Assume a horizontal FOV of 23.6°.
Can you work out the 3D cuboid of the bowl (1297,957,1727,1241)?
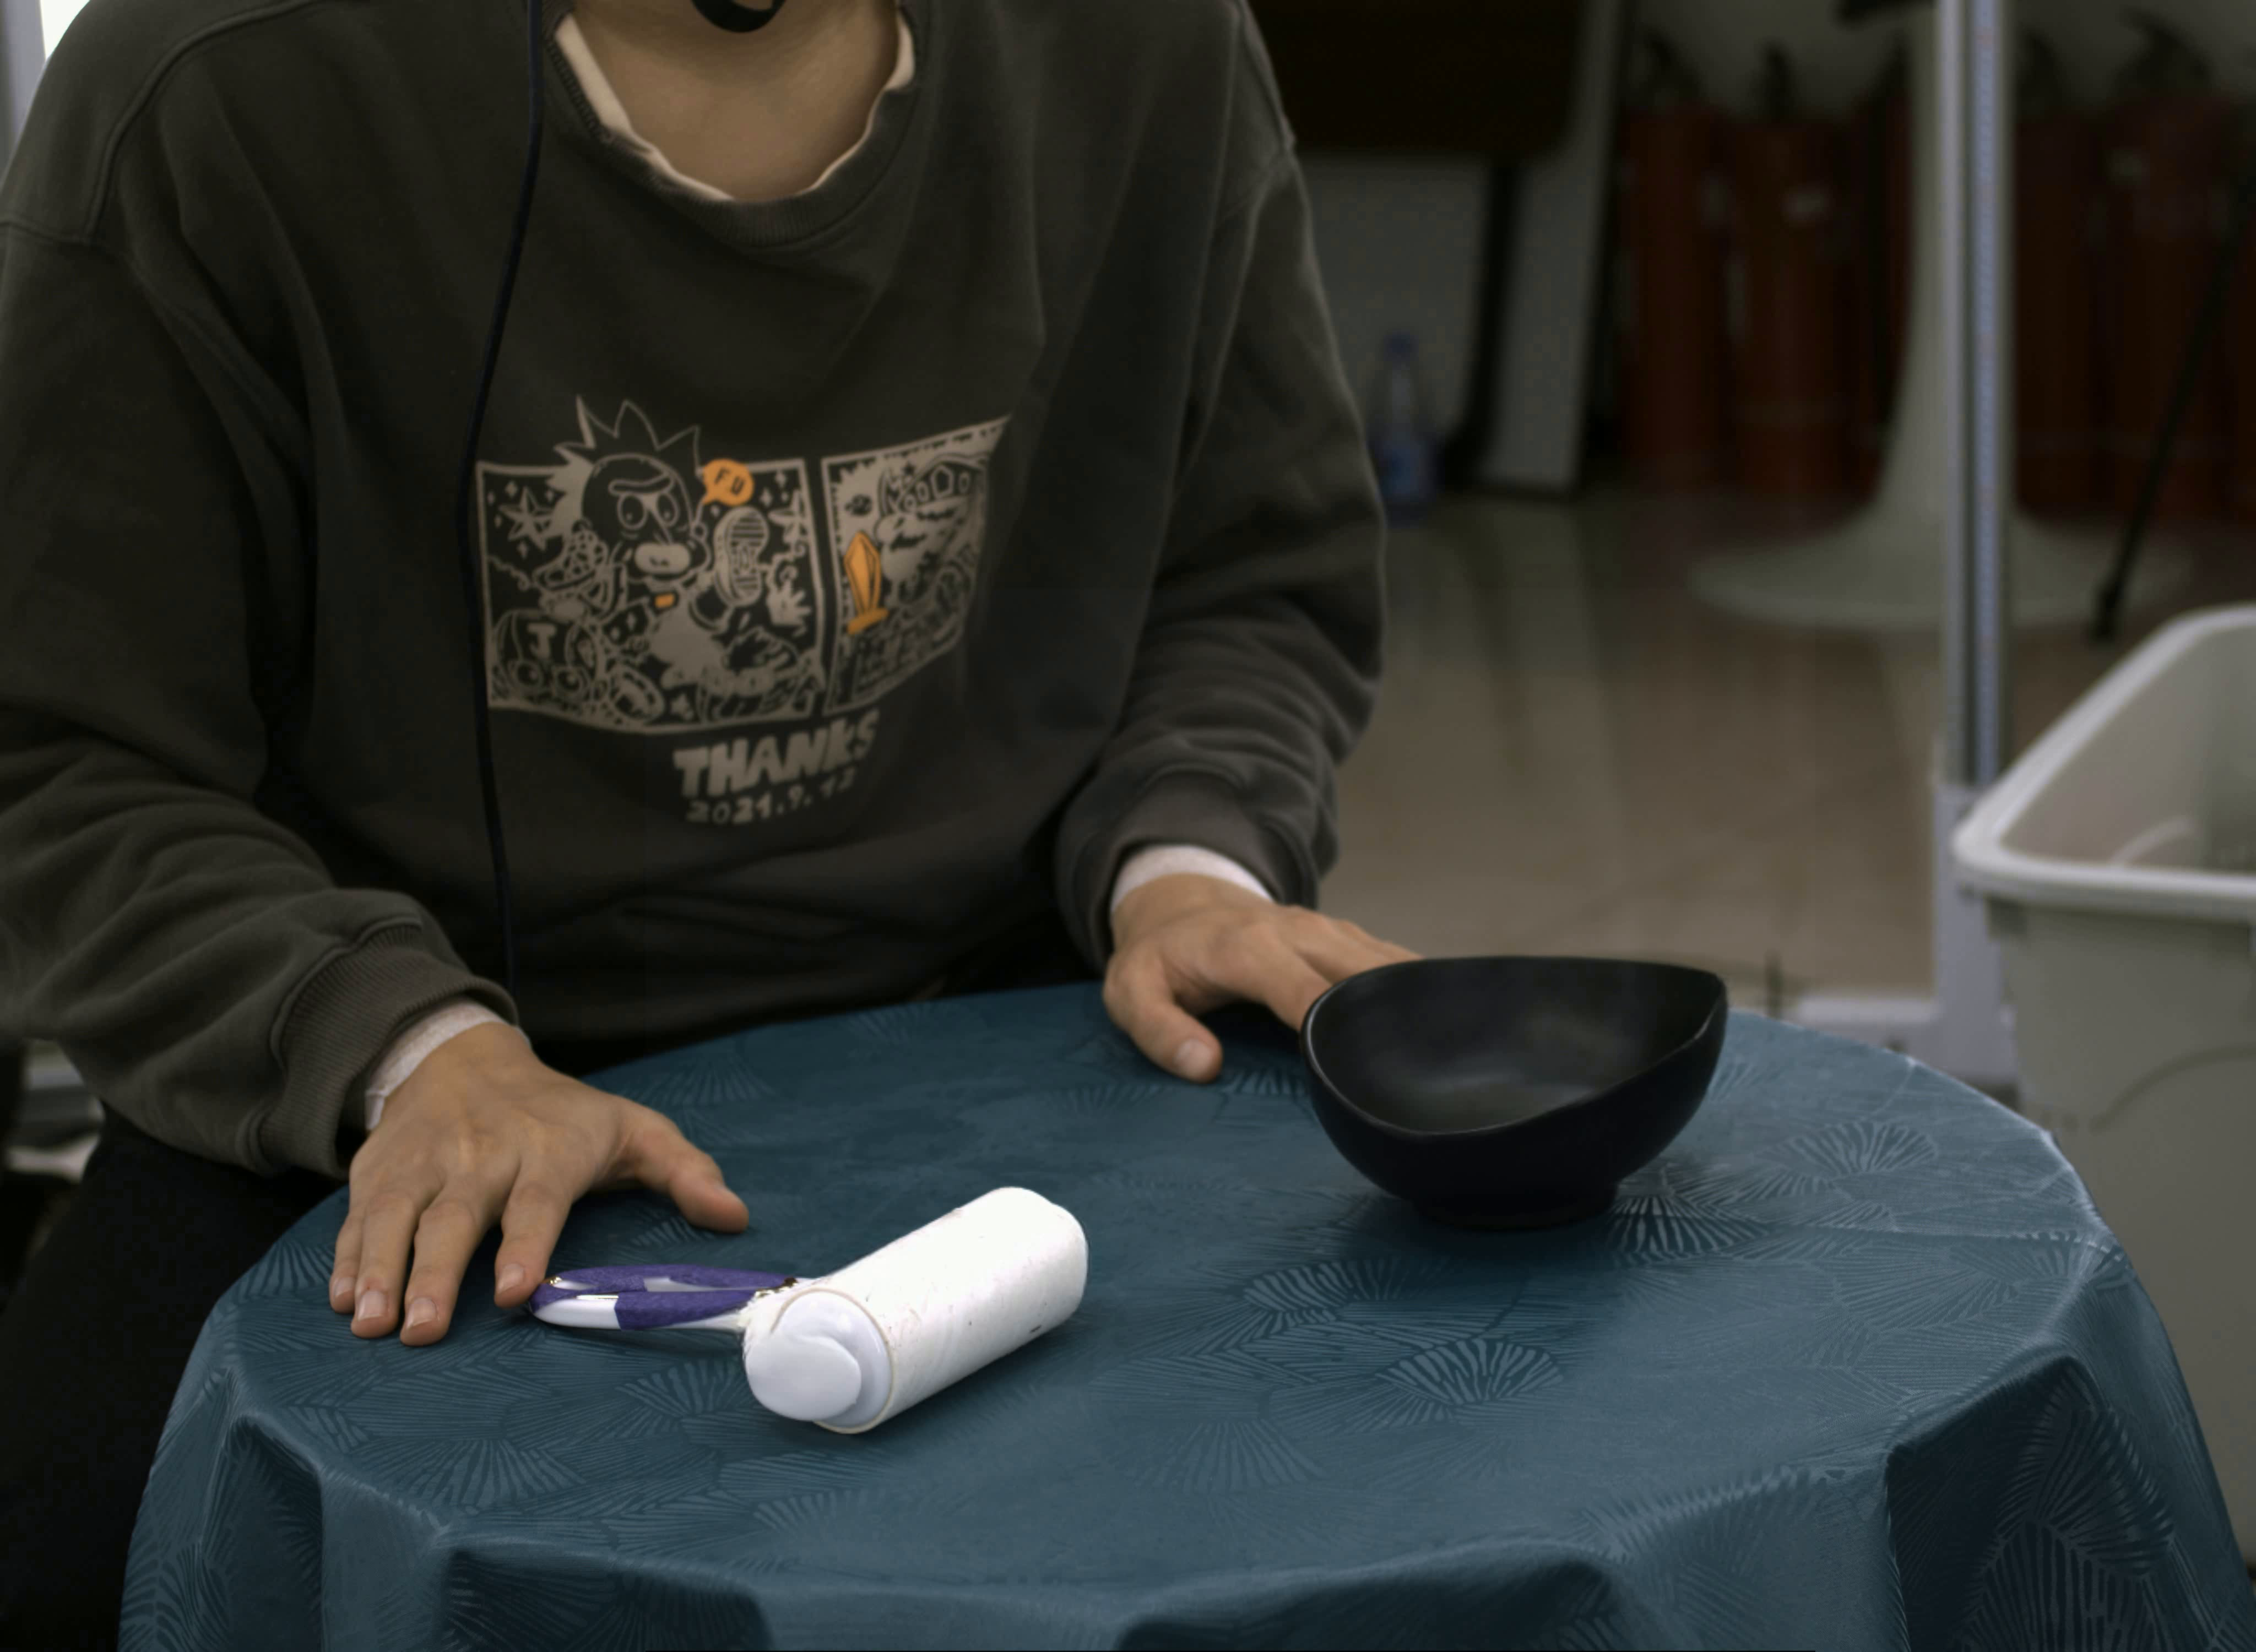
[{"bbox_3d":[0.125,0.092,1.730,0.137,0.067,0.168,0,16,20],"label":"bowl"}]

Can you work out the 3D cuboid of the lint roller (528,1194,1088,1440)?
[{"bbox_3d":[-0.111,0.138,1.641,0.182,0.051,0.130,9,19,36],"label":"lint roller"}]
